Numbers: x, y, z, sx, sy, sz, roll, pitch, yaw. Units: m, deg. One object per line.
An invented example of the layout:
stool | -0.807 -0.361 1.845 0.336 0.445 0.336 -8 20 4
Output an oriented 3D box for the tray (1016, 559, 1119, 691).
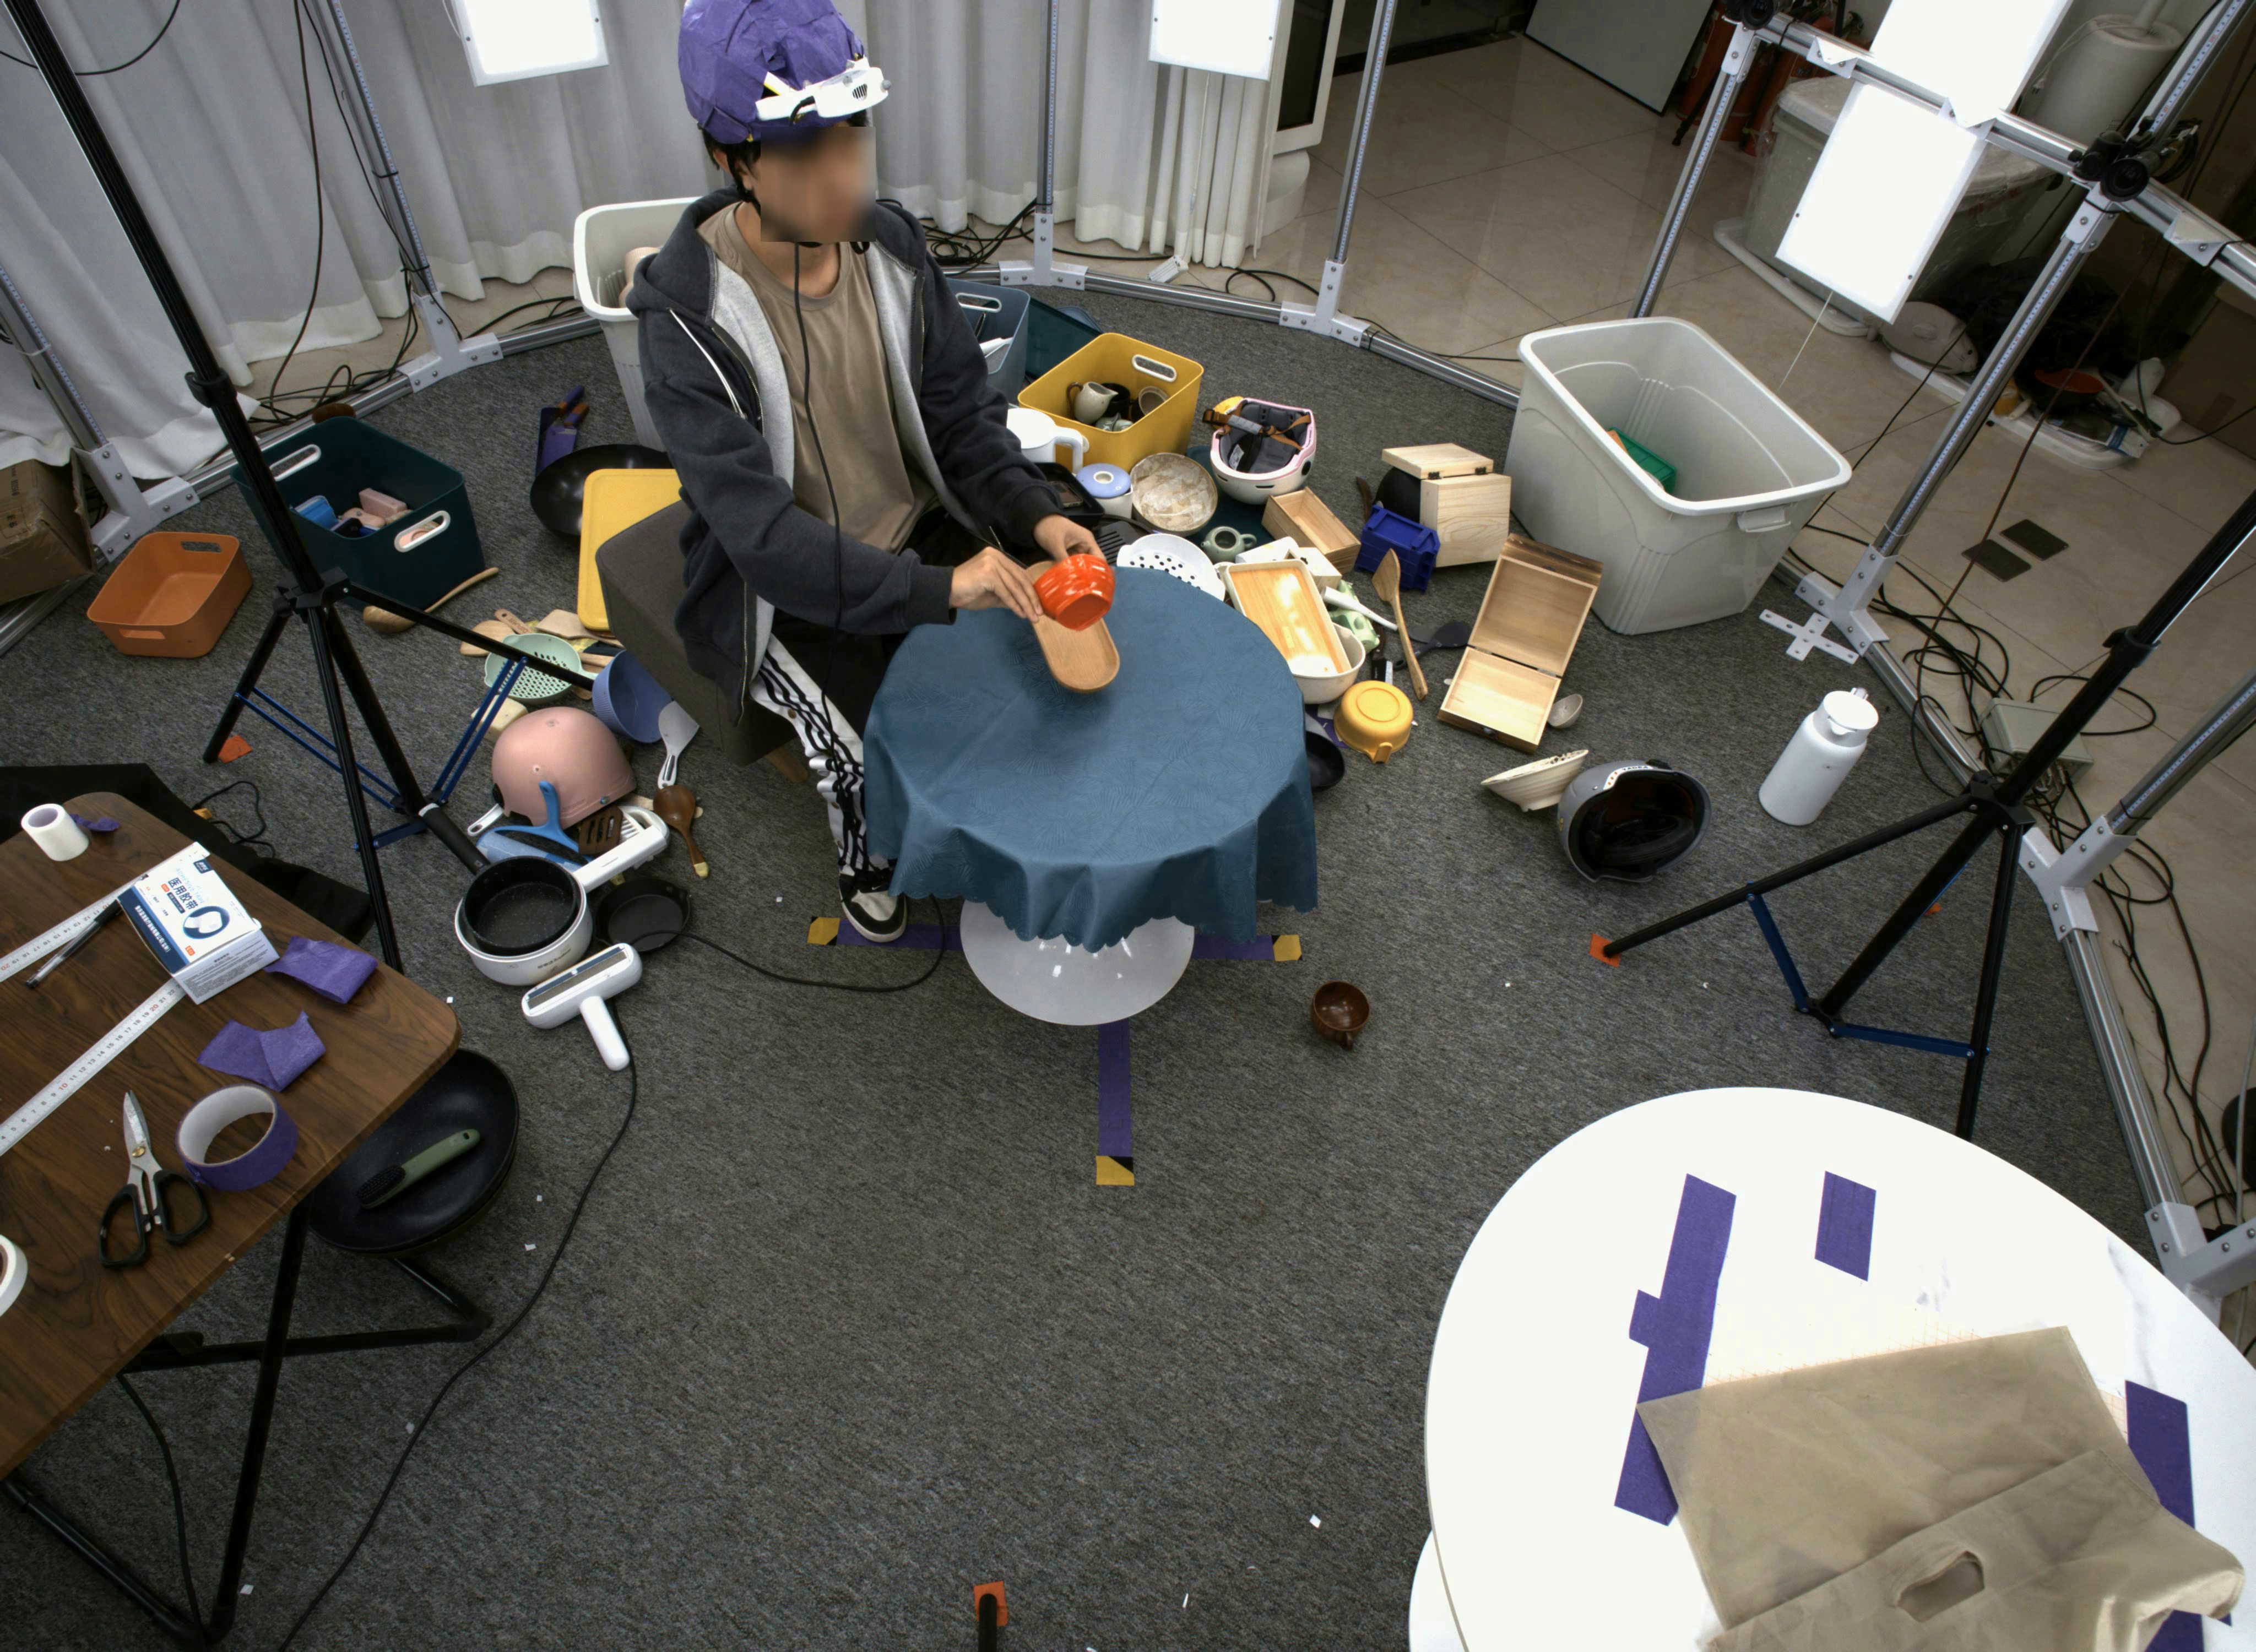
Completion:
tray | -0.087 -0.287 1.831 0.102 0.020 0.236 -15 62 -17

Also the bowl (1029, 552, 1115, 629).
bowl | -0.066 -0.303 1.695 0.119 0.116 0.052 -15 64 -17
